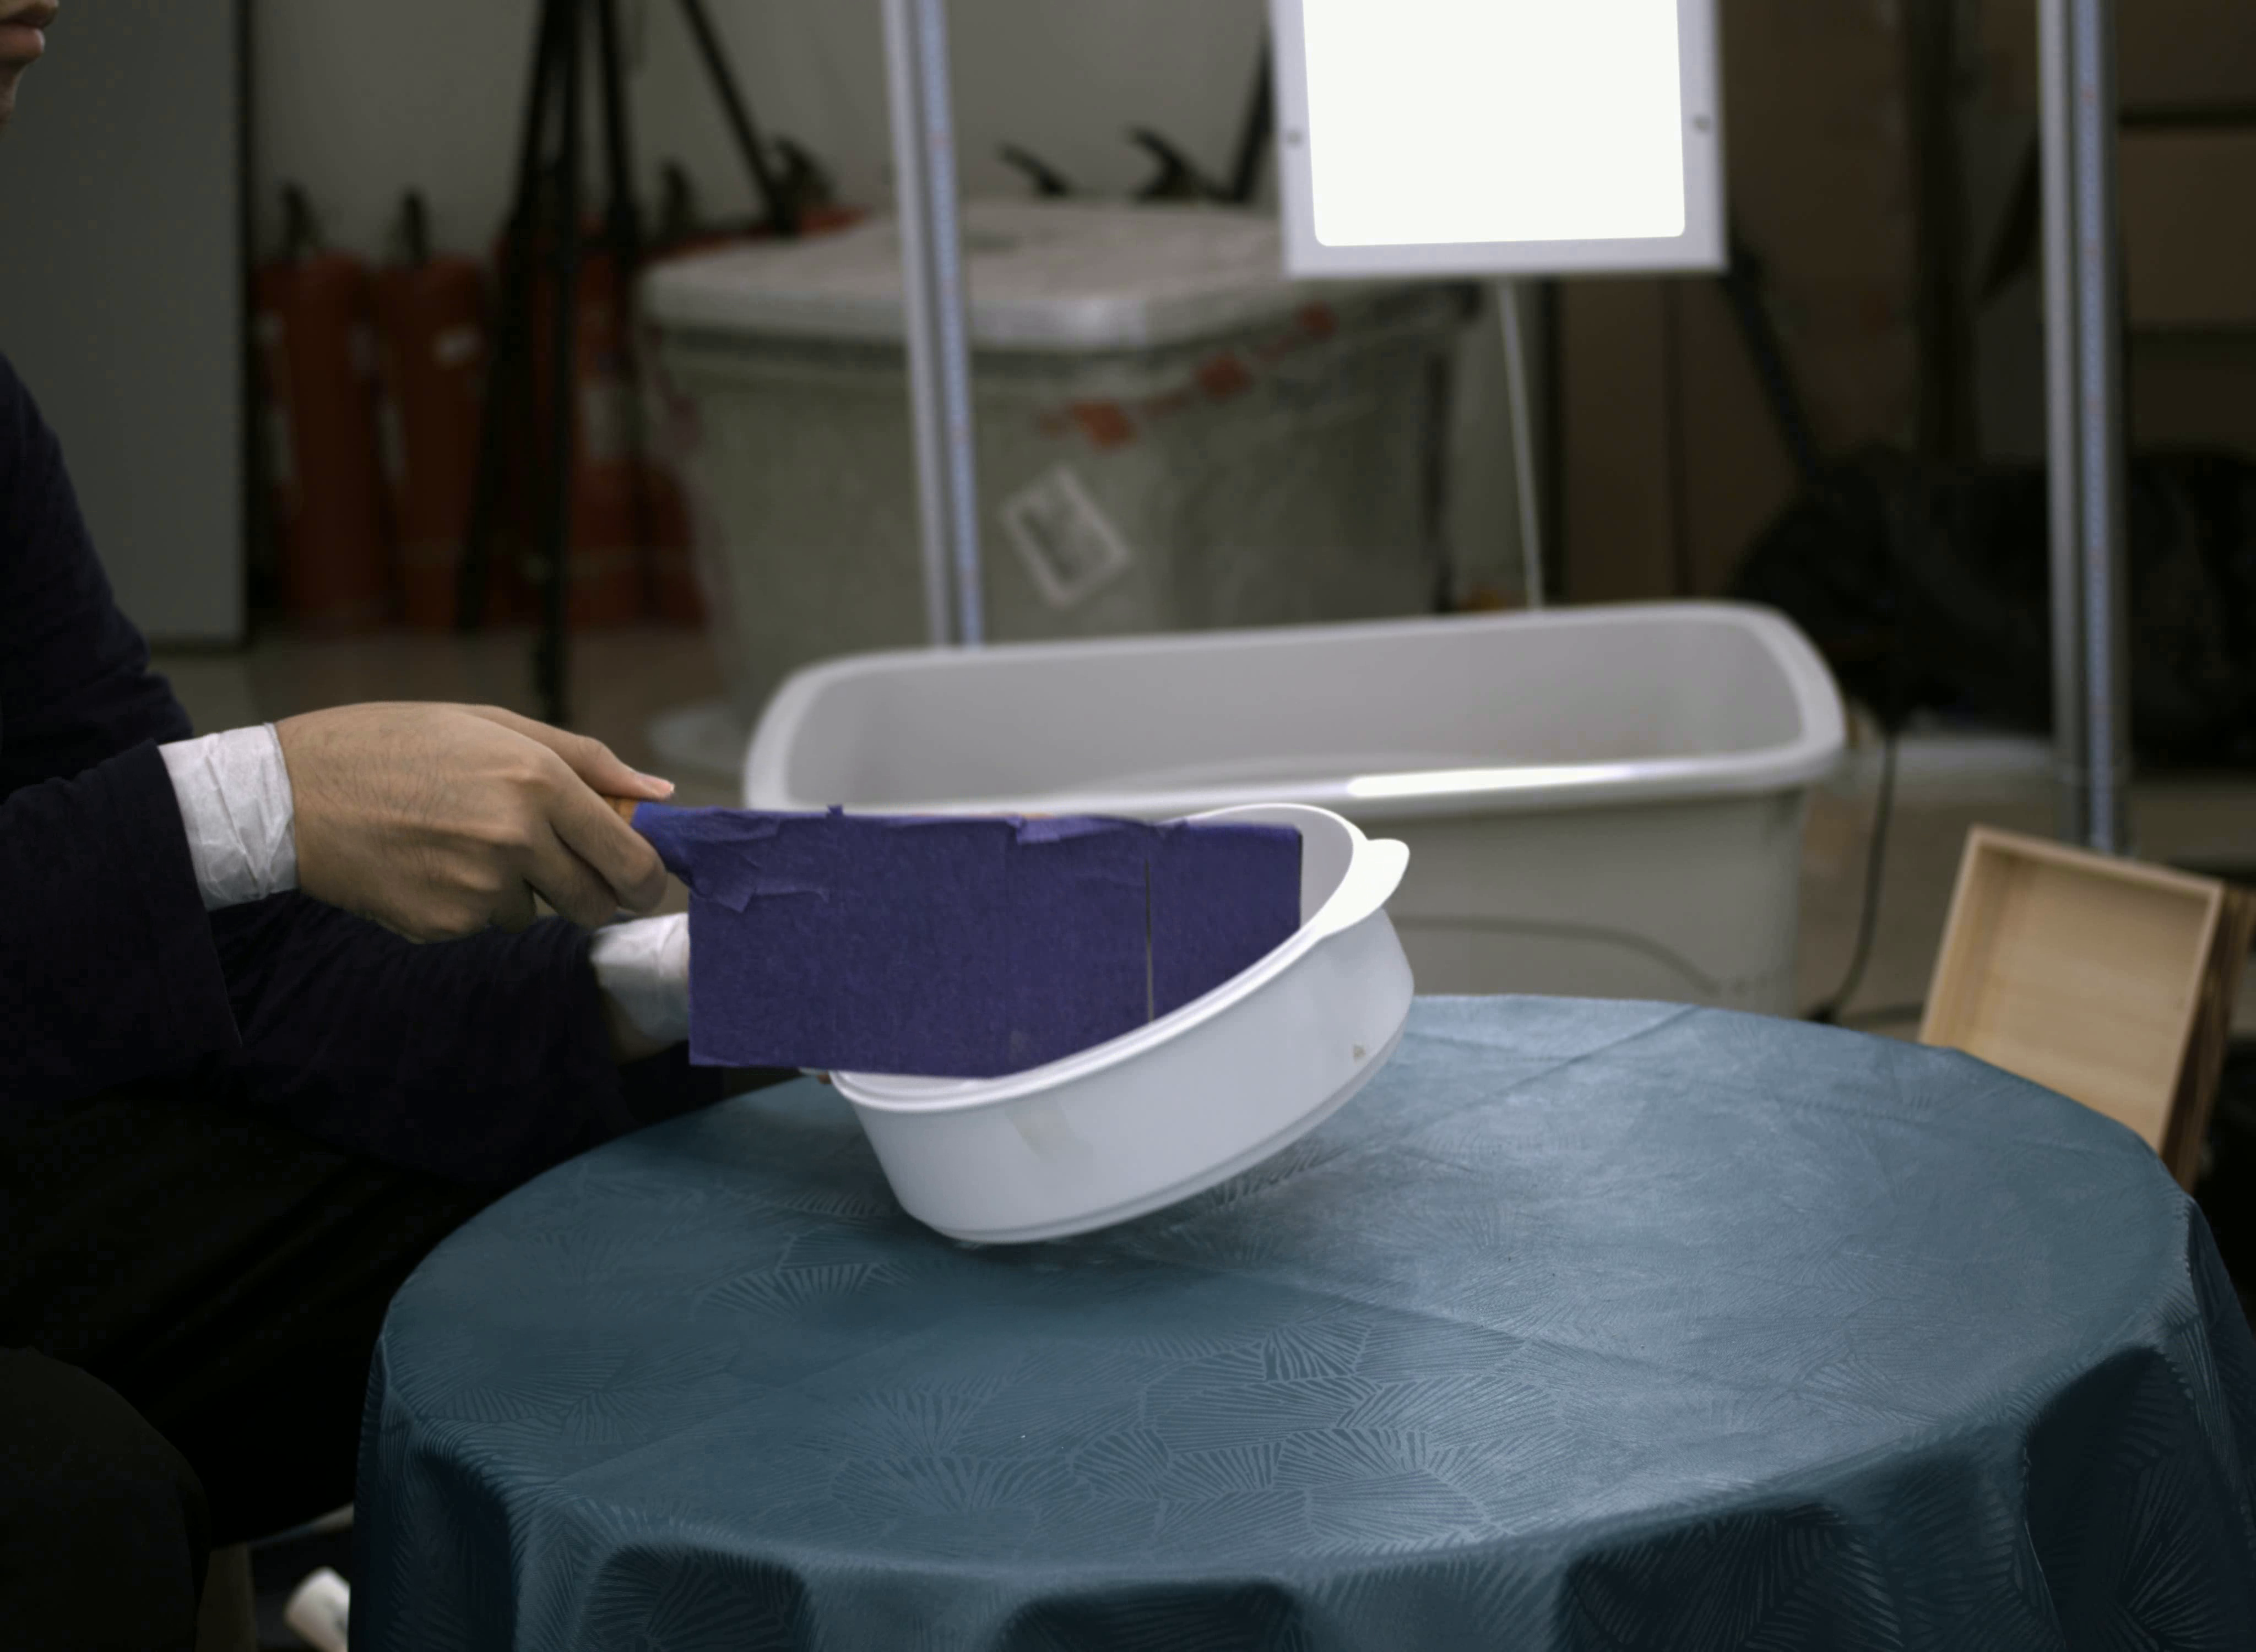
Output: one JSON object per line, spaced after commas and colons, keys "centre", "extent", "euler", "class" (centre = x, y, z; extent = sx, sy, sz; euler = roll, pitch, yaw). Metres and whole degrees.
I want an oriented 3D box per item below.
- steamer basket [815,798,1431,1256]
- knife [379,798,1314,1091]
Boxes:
{"centre": [0.006, 0.070, 1.882], "extent": [0.234, 0.069, 0.199], "euler": [-19, 20, 26], "class": "steamer basket"}
{"centre": [-0.094, 0.040, 1.840], "extent": [0.316, 0.104, 0.032], "euler": [2, 12, 9], "class": "knife"}
